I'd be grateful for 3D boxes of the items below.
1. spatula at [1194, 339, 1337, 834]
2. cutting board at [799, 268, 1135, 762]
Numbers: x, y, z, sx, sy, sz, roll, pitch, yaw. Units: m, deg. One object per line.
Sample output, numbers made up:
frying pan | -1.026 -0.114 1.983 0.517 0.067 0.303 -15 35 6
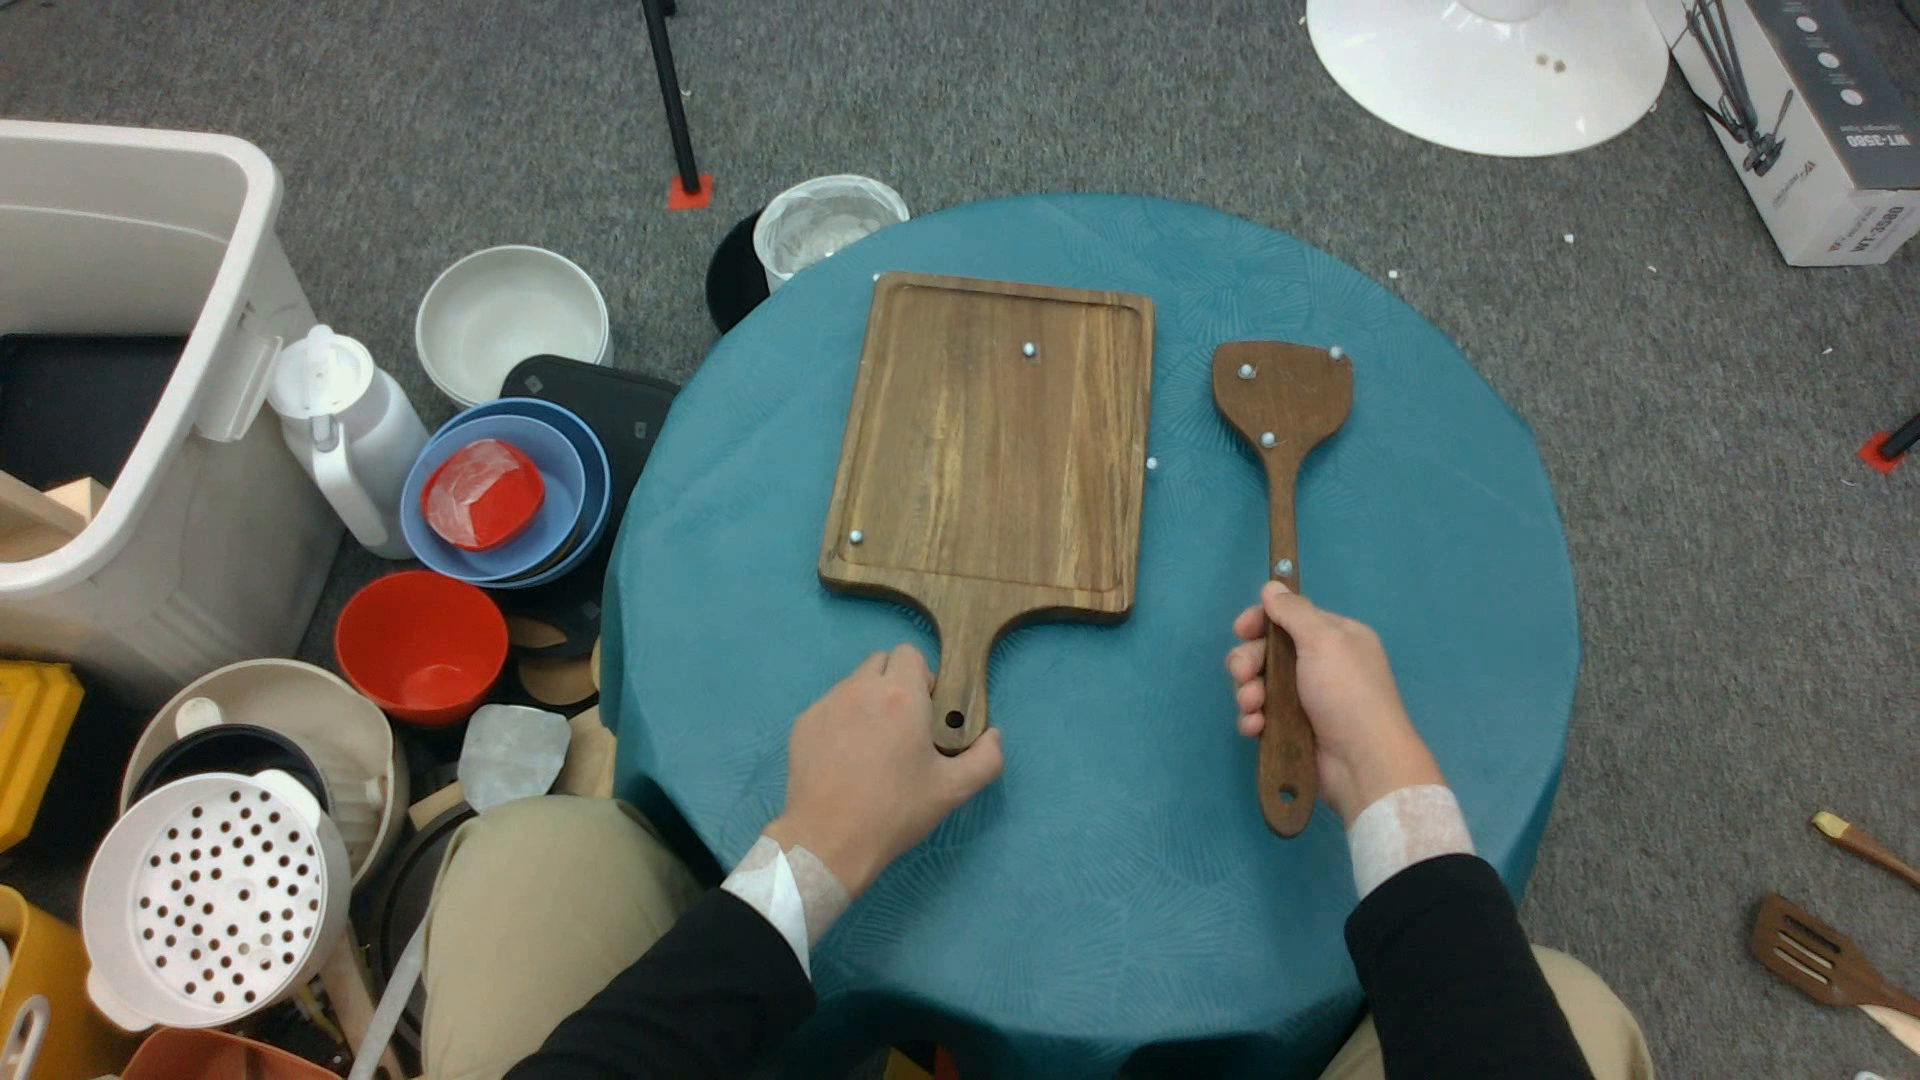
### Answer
spatula | 0.185 0.004 0.824 0.096 0.016 0.388 6 48 4
cutting board | 0.006 -0.028 0.872 0.201 0.023 0.353 6 59 2
